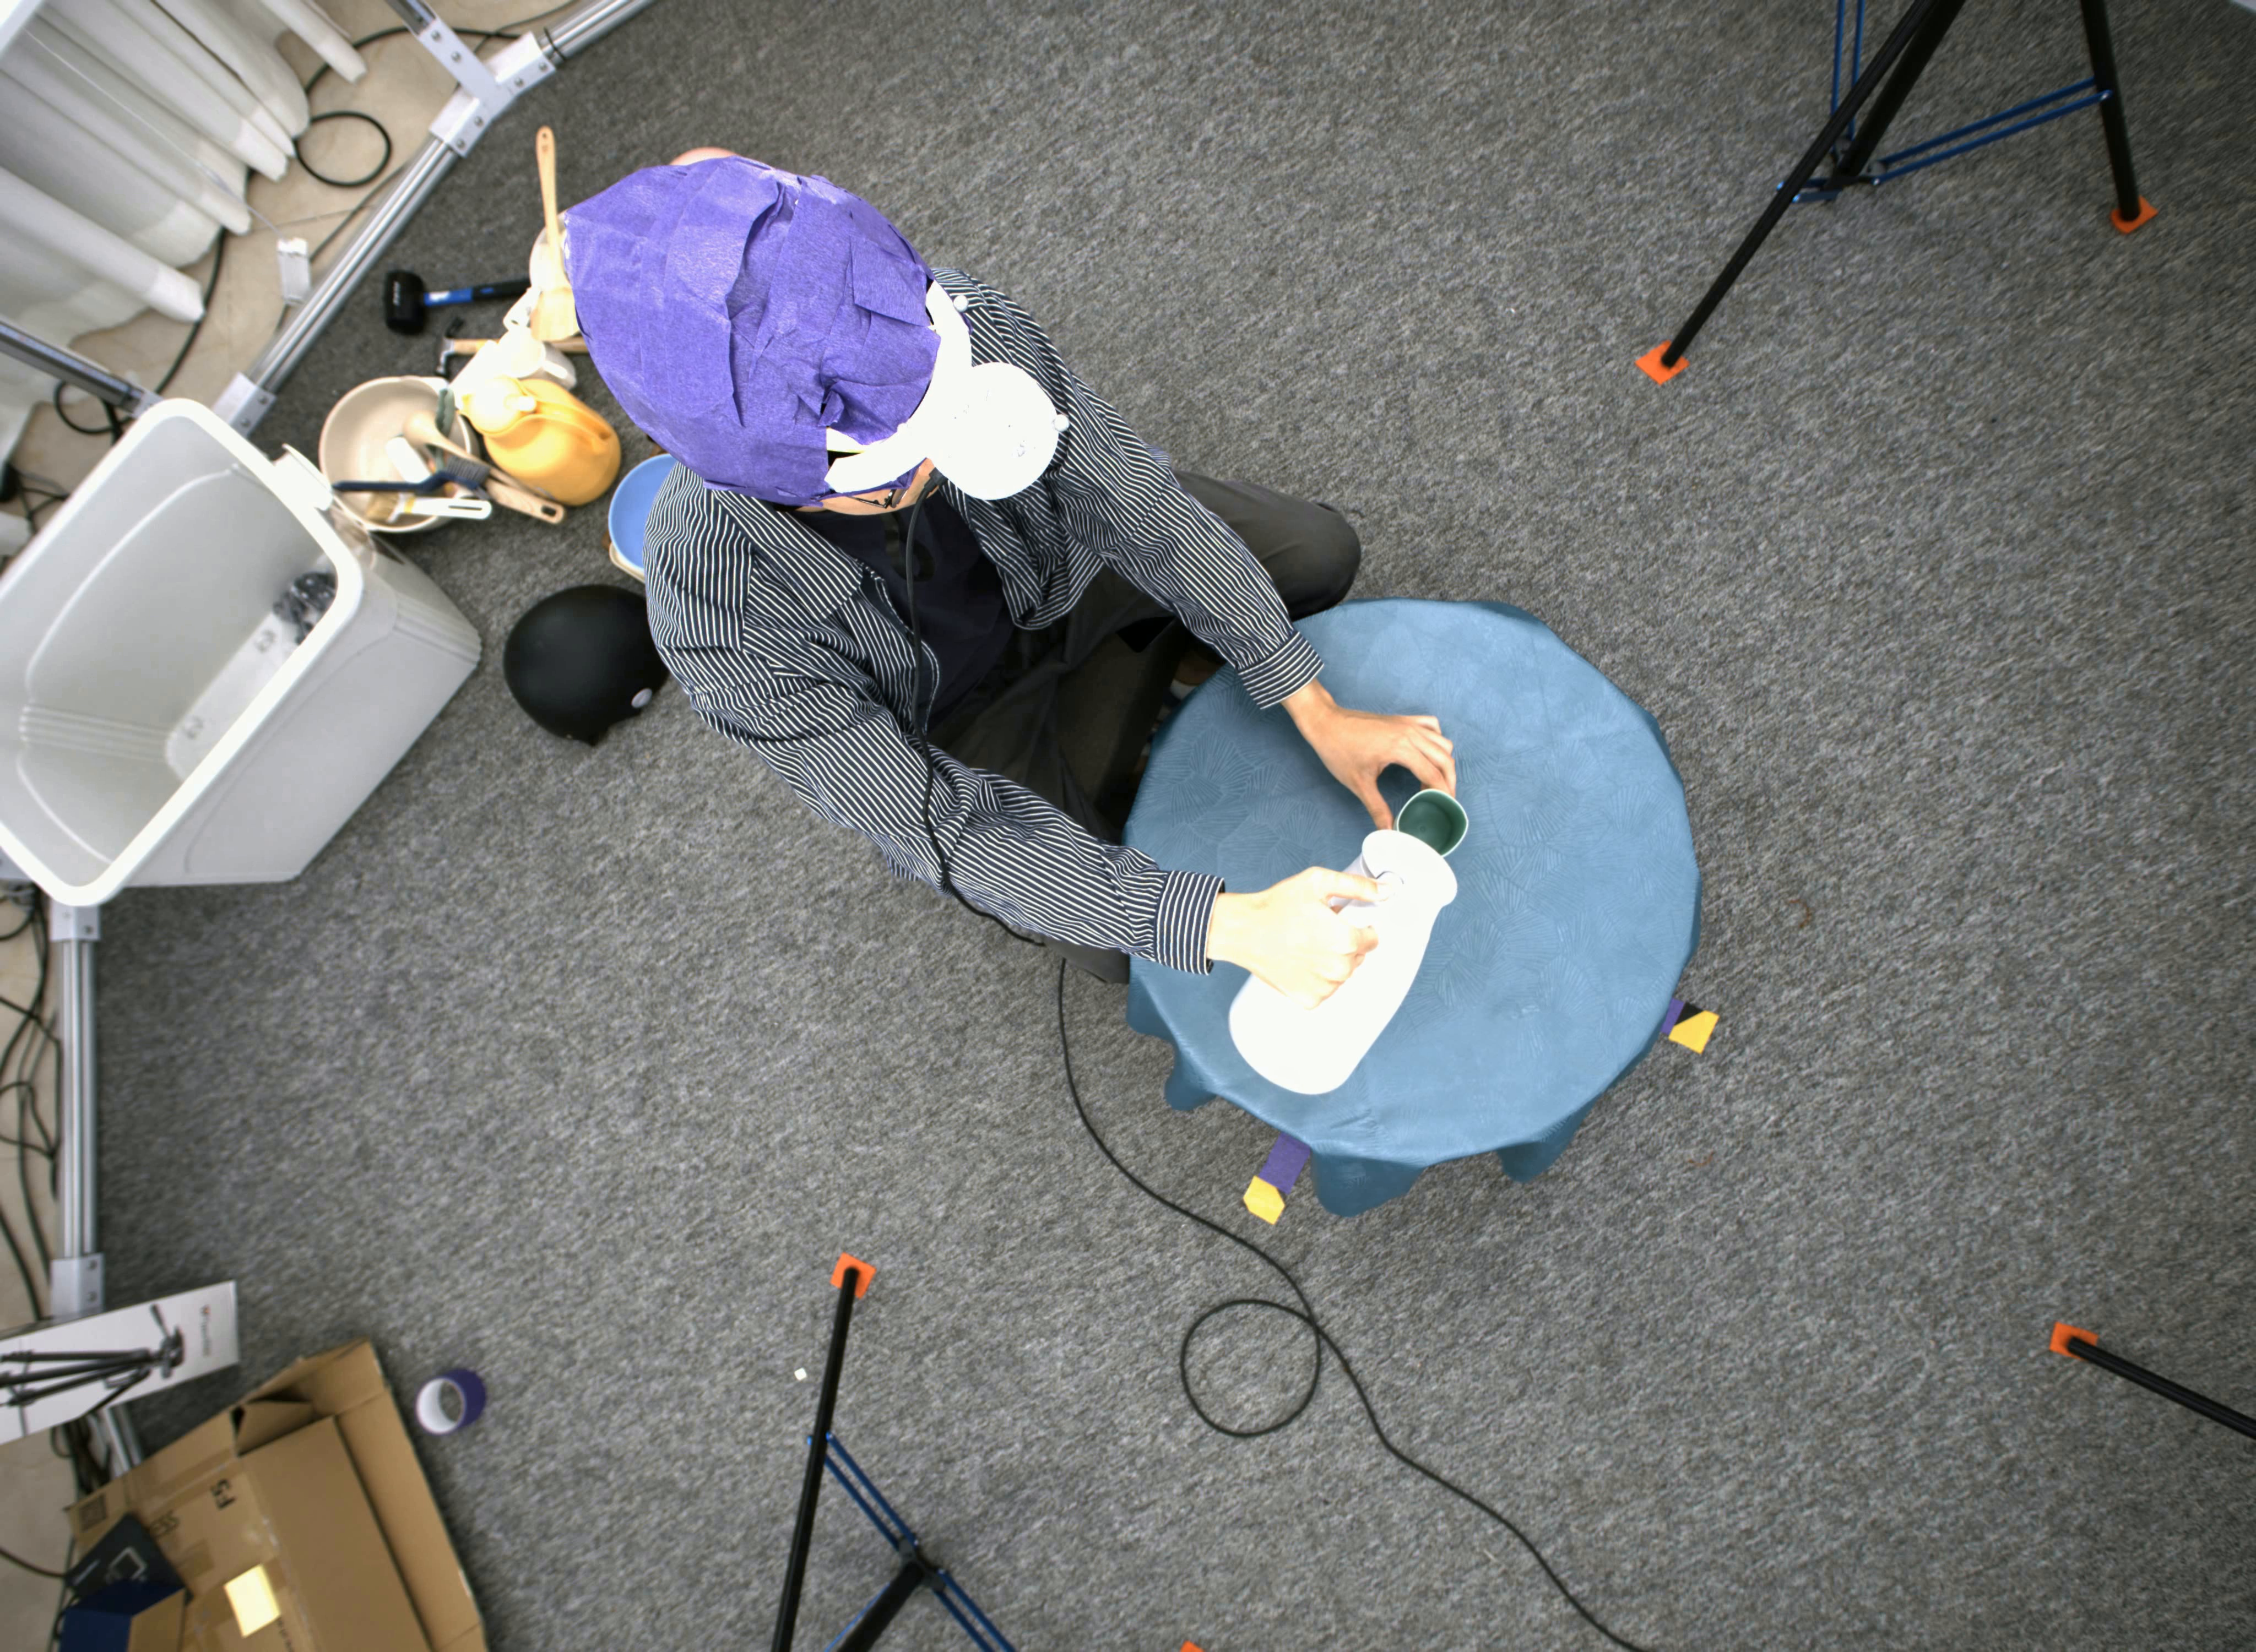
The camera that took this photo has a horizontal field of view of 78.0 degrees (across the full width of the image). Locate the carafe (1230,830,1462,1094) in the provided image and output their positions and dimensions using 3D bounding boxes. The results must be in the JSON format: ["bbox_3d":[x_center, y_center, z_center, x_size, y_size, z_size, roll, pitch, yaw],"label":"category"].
[{"bbox_3d":[0.192,0.124,1.236,0.132,0.164,0.255,41,131,15],"label":"carafe"}]

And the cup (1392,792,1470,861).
[{"bbox_3d":[0.295,-0.001,1.356,0.067,0.132,0.067,0,90,8],"label":"cup"}]
